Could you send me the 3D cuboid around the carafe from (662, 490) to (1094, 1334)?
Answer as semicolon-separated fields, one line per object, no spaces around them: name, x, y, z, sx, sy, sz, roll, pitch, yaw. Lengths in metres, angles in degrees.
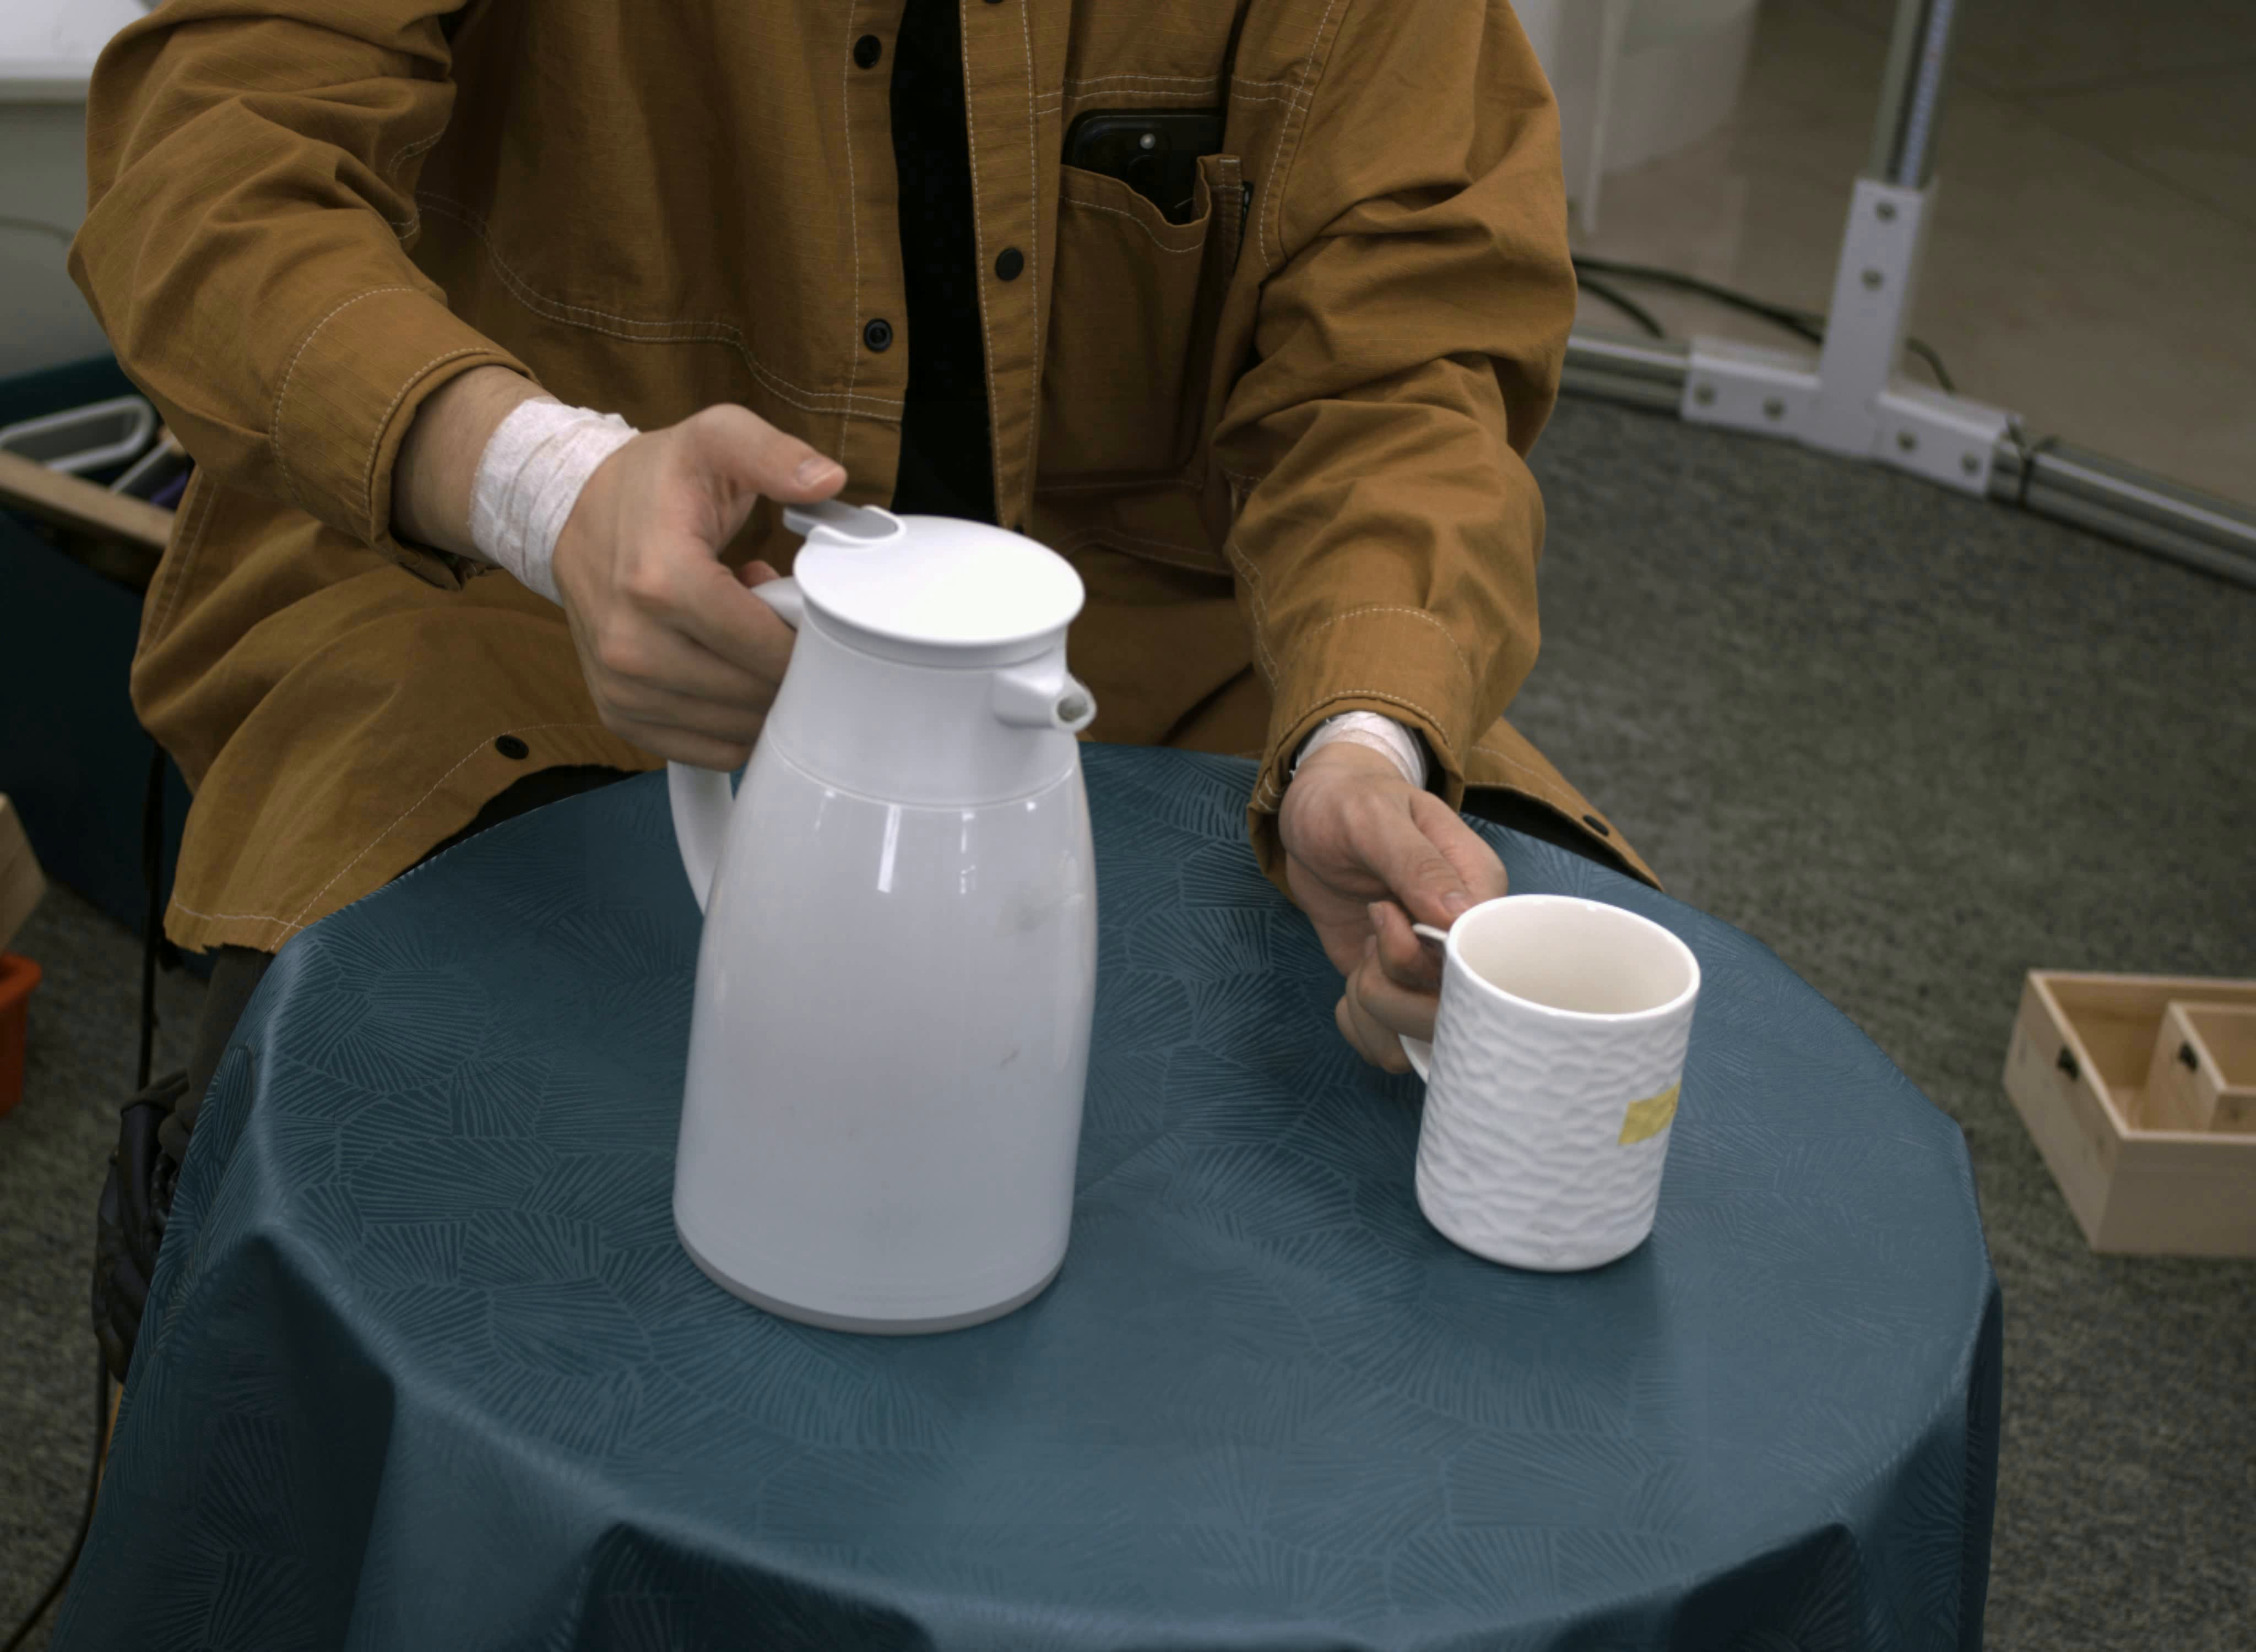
carafe;-0.088;0.017;1.721;0.169;0.248;0.132;26;33;34

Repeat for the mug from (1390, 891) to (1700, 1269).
mug;0.133;0.080;1.806;0.084;0.101;0.119;-16;34;-38
